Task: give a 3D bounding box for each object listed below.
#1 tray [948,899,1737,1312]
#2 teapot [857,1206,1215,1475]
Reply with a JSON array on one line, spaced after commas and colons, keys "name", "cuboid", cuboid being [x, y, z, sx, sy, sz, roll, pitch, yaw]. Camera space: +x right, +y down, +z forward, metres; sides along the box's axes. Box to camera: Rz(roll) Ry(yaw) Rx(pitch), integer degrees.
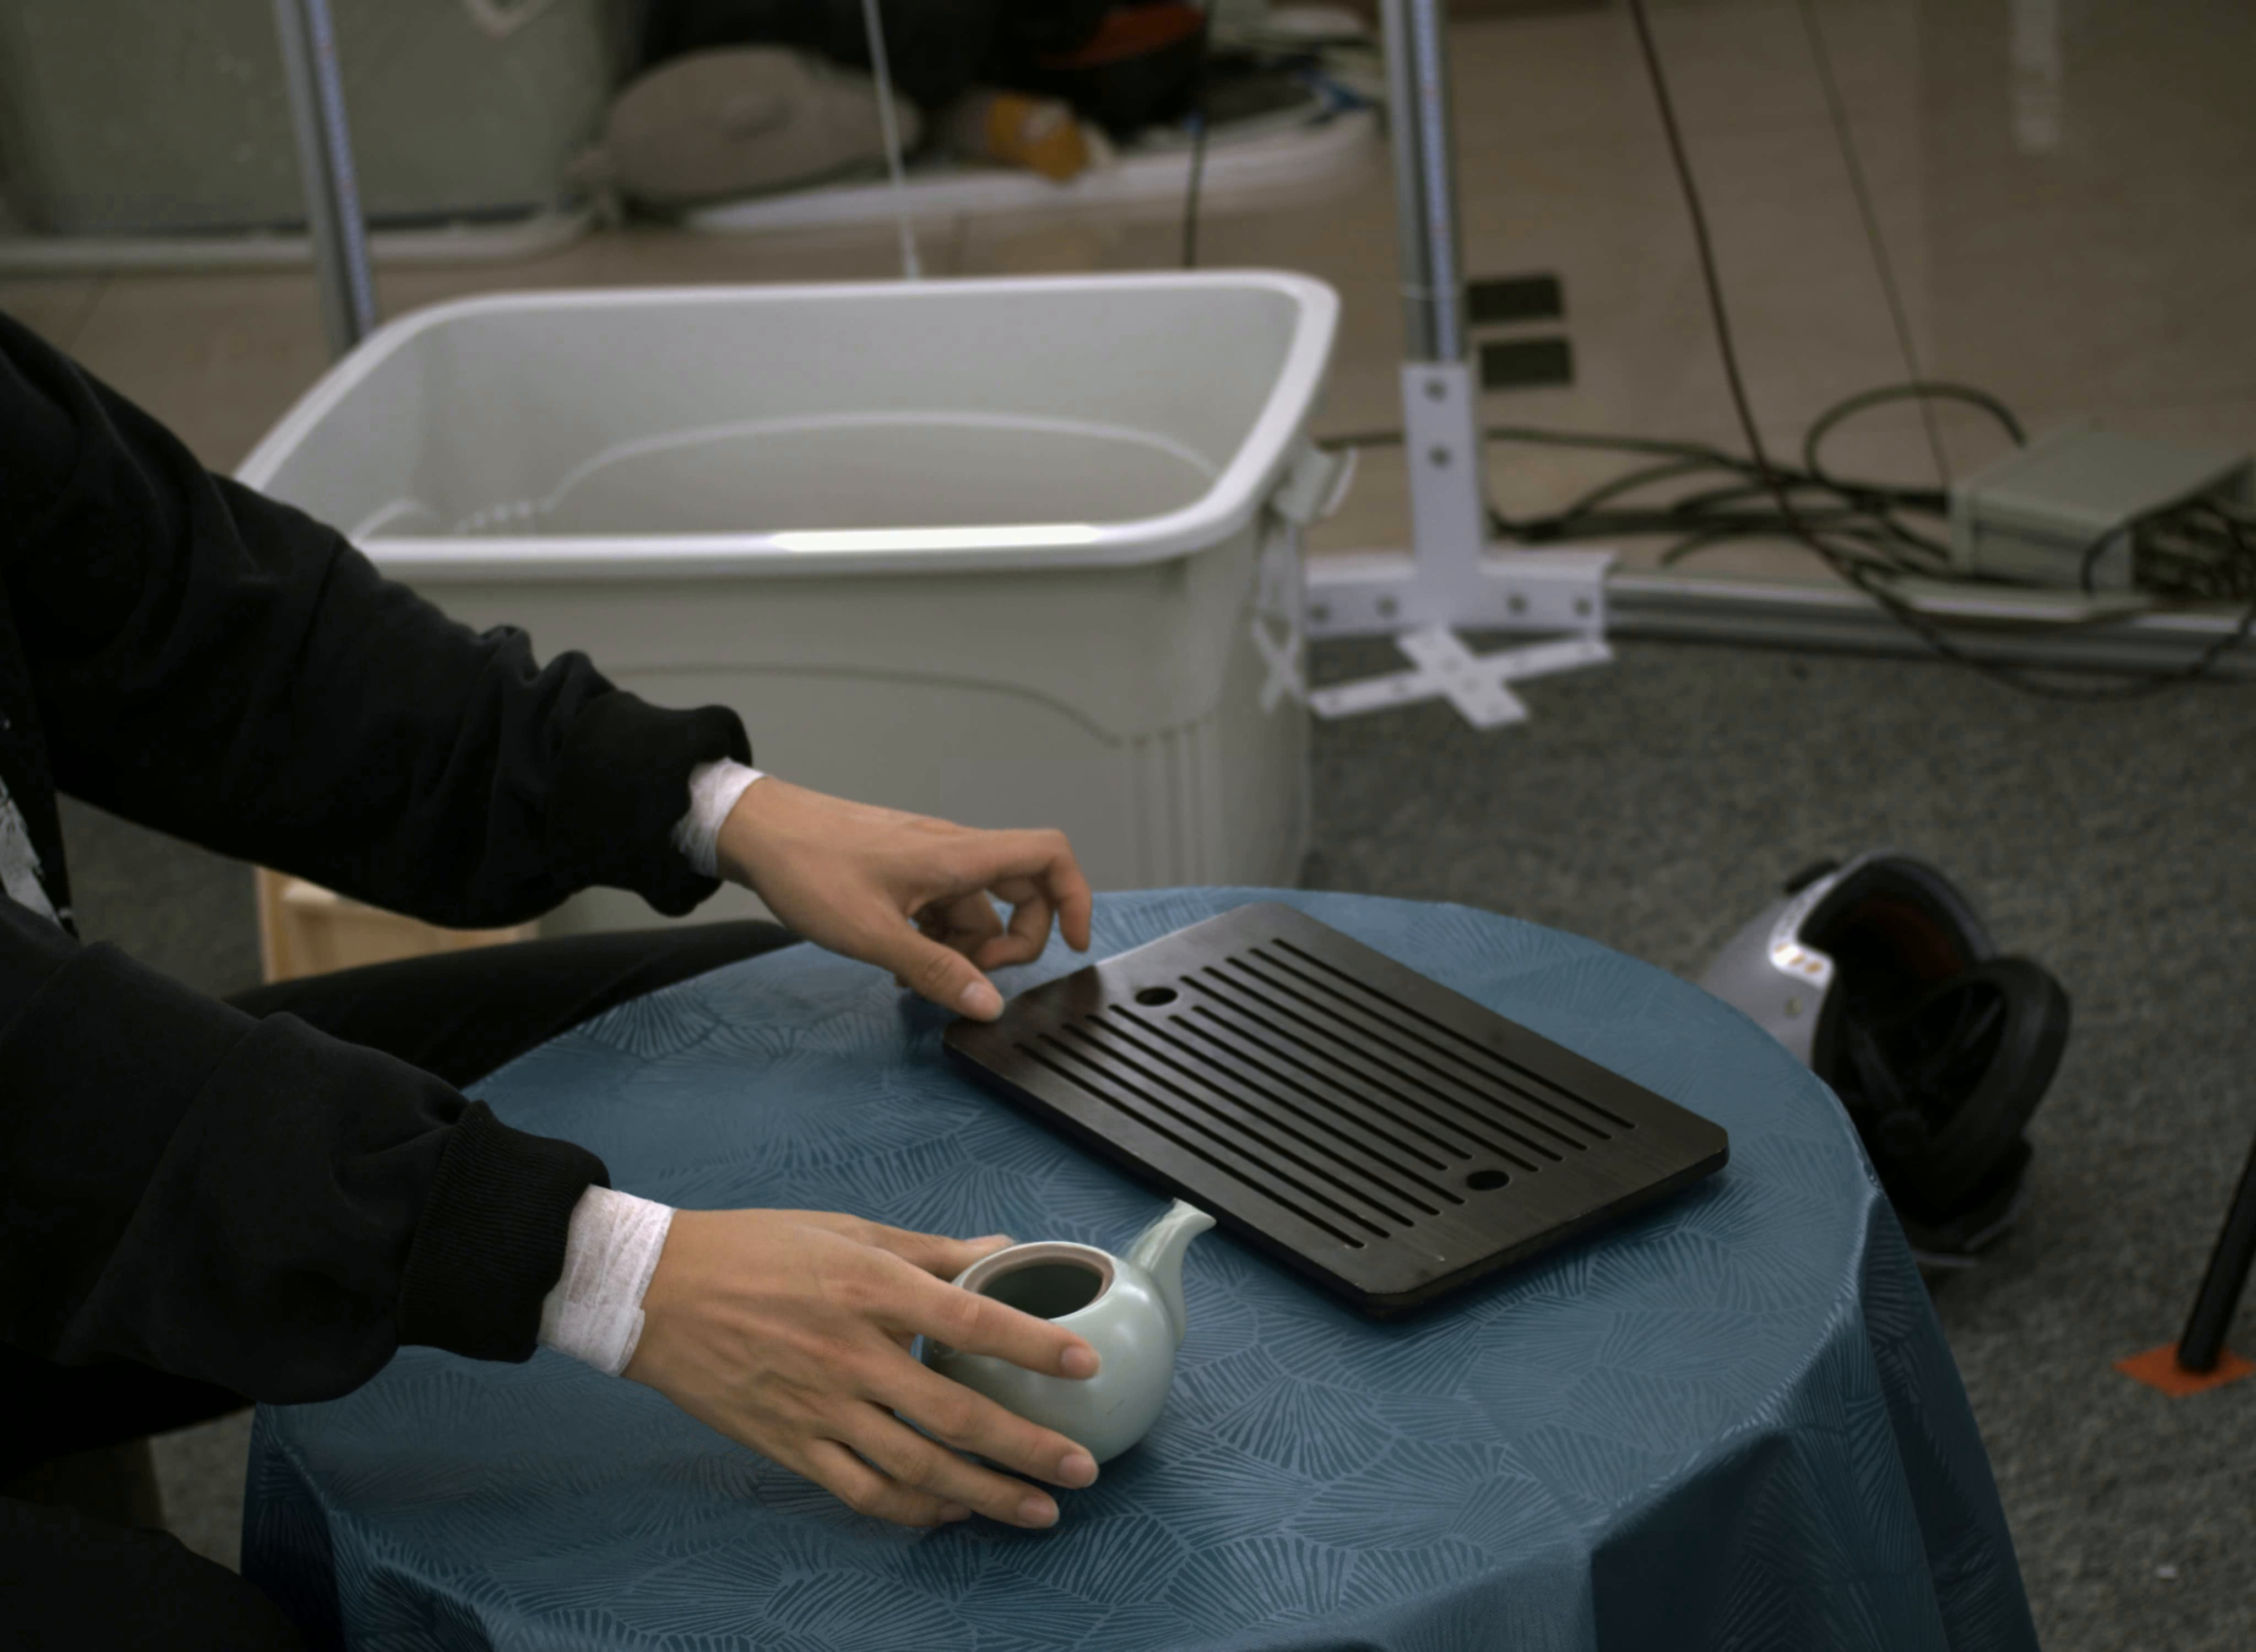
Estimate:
[{"name": "tray", "cuboid": [0.078, 0.104, 2.184, 0.169, 0.019, 0.303, -21, 28, -28]}, {"name": "teapot", "cuboid": [-0.029, 0.184, 1.973, 0.143, 0.076, 0.087, -17, 27, -25]}]
